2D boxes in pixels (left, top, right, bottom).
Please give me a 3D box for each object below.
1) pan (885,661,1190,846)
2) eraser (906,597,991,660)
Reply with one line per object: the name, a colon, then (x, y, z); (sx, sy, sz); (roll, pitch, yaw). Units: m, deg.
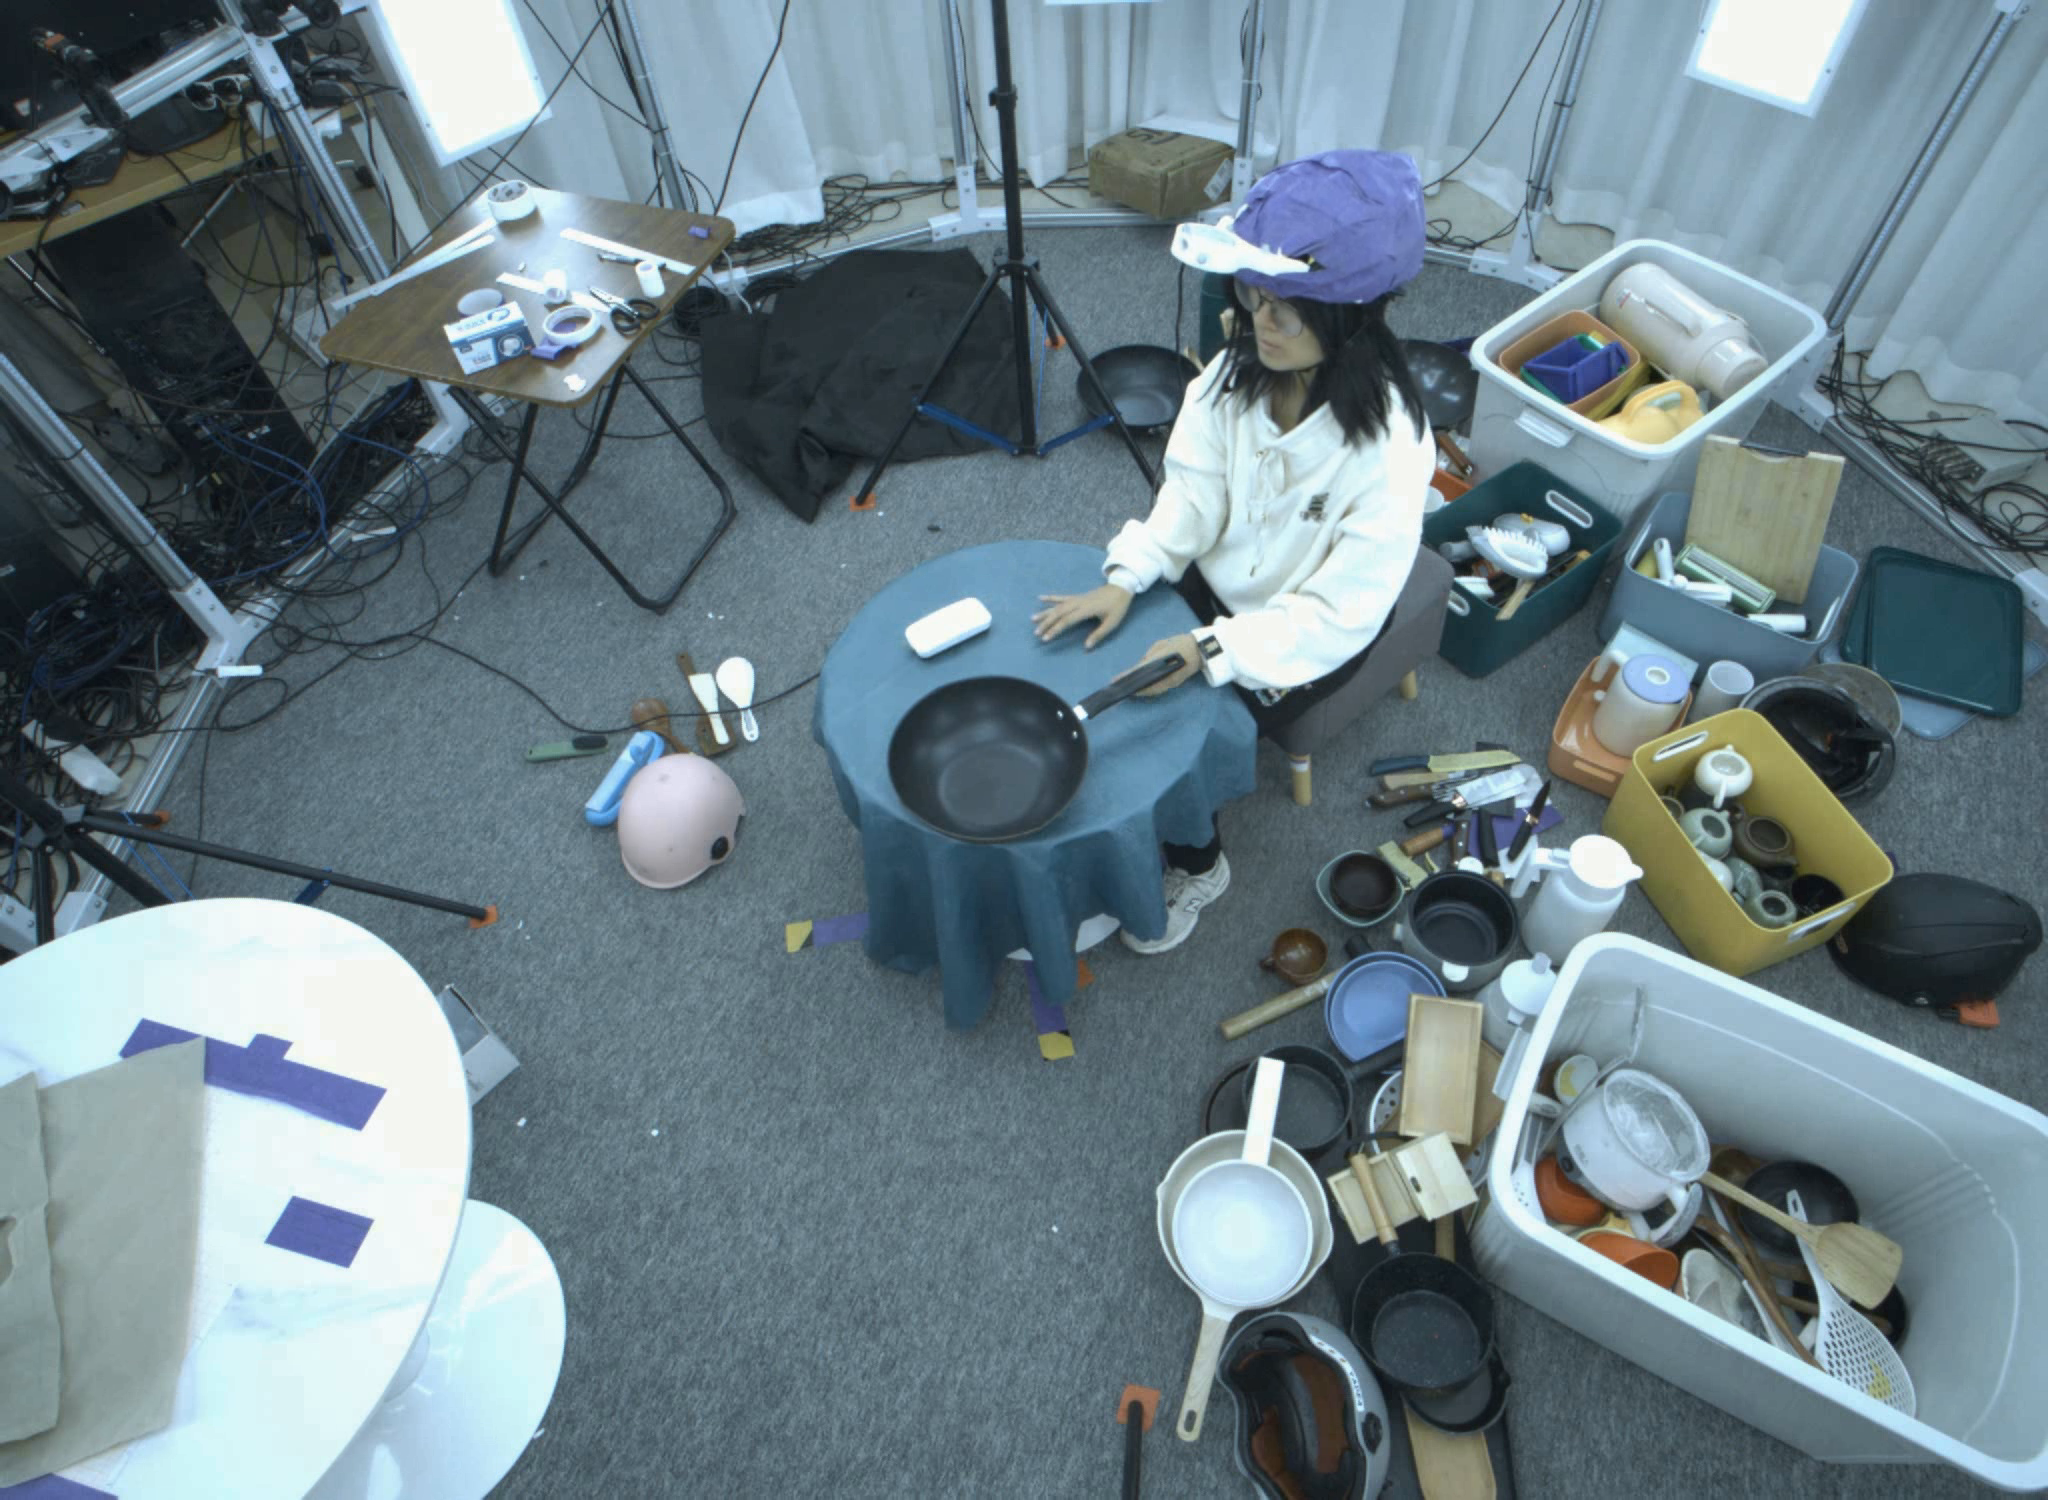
pan: (0.030, -0.012, 1.745); (0.467, 0.088, 0.283); (-26, 58, -17)
eraser: (-0.117, -0.189, 1.907); (0.132, 0.035, 0.062); (-28, 61, -16)
